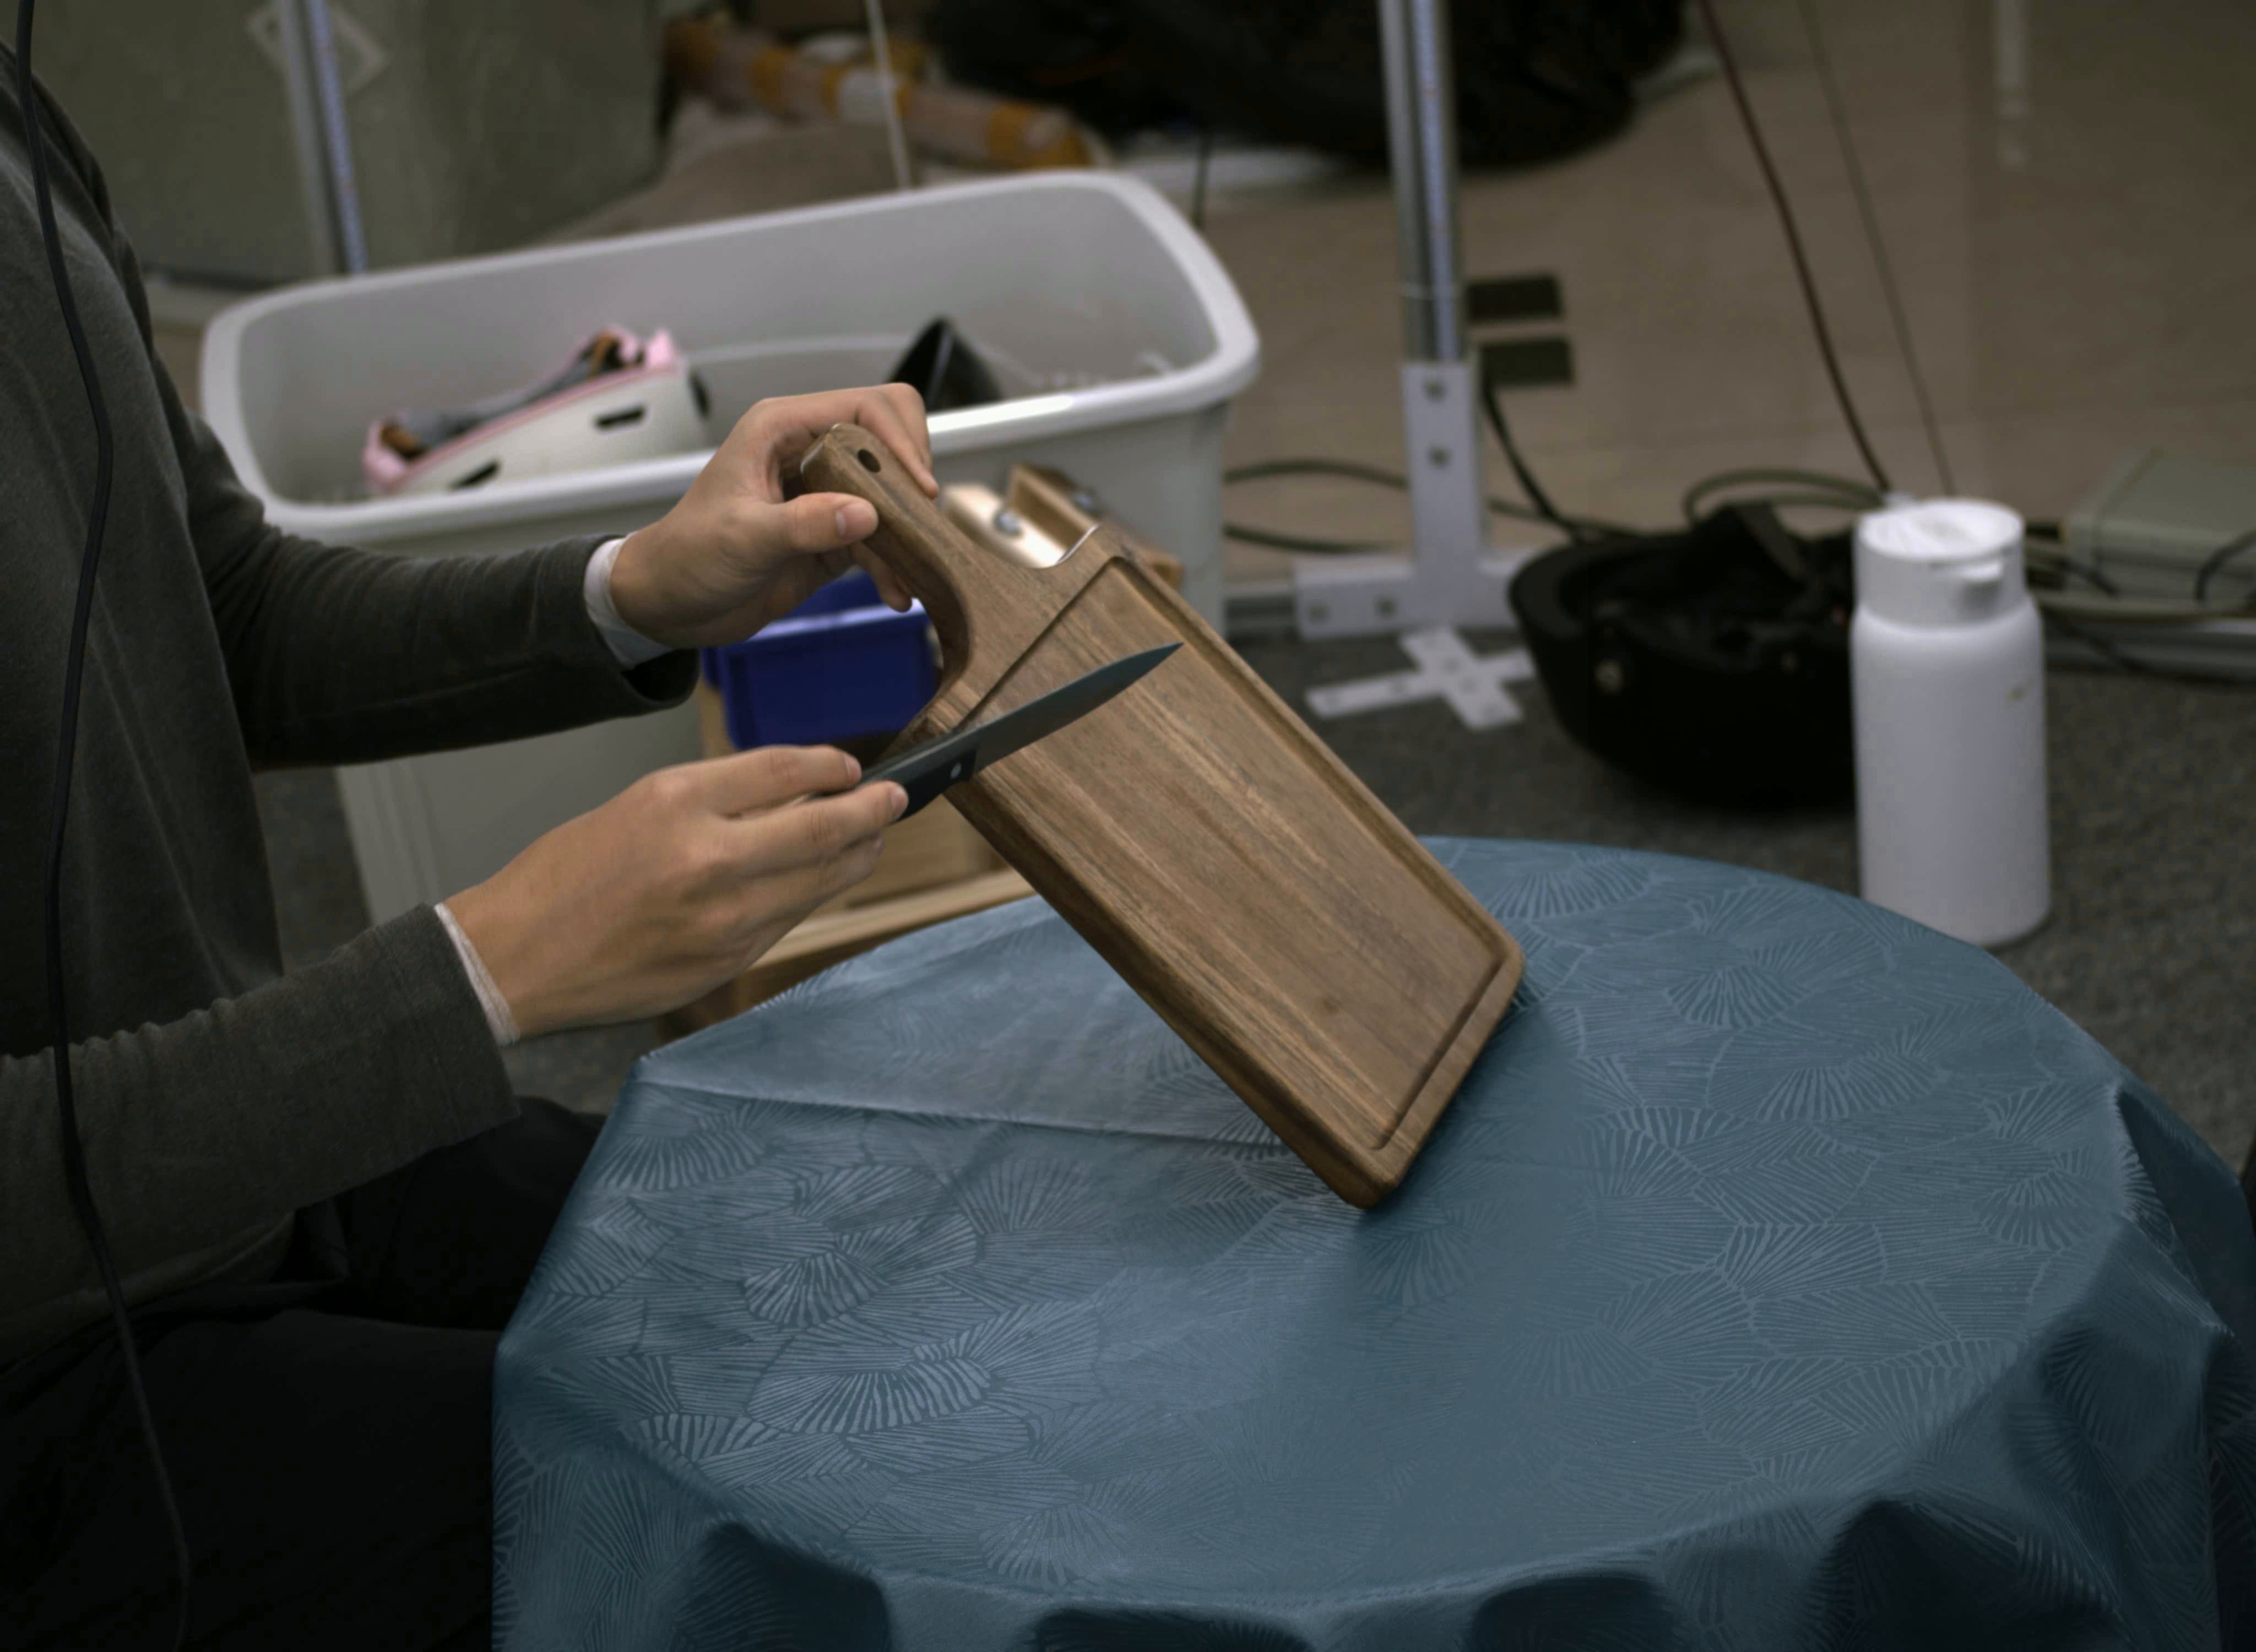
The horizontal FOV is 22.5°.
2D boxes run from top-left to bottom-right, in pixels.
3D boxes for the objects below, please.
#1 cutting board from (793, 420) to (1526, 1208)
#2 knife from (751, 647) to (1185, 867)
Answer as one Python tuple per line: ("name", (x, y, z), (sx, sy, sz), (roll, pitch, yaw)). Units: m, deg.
("cutting board", (0.003, -0.024, 2.172), (0.023, 0.353, 0.198), (-40, 7, 33))
("knife", (-0.053, -0.032, 2.061), (0.016, 0.025, 0.236), (31, 37, 29))
